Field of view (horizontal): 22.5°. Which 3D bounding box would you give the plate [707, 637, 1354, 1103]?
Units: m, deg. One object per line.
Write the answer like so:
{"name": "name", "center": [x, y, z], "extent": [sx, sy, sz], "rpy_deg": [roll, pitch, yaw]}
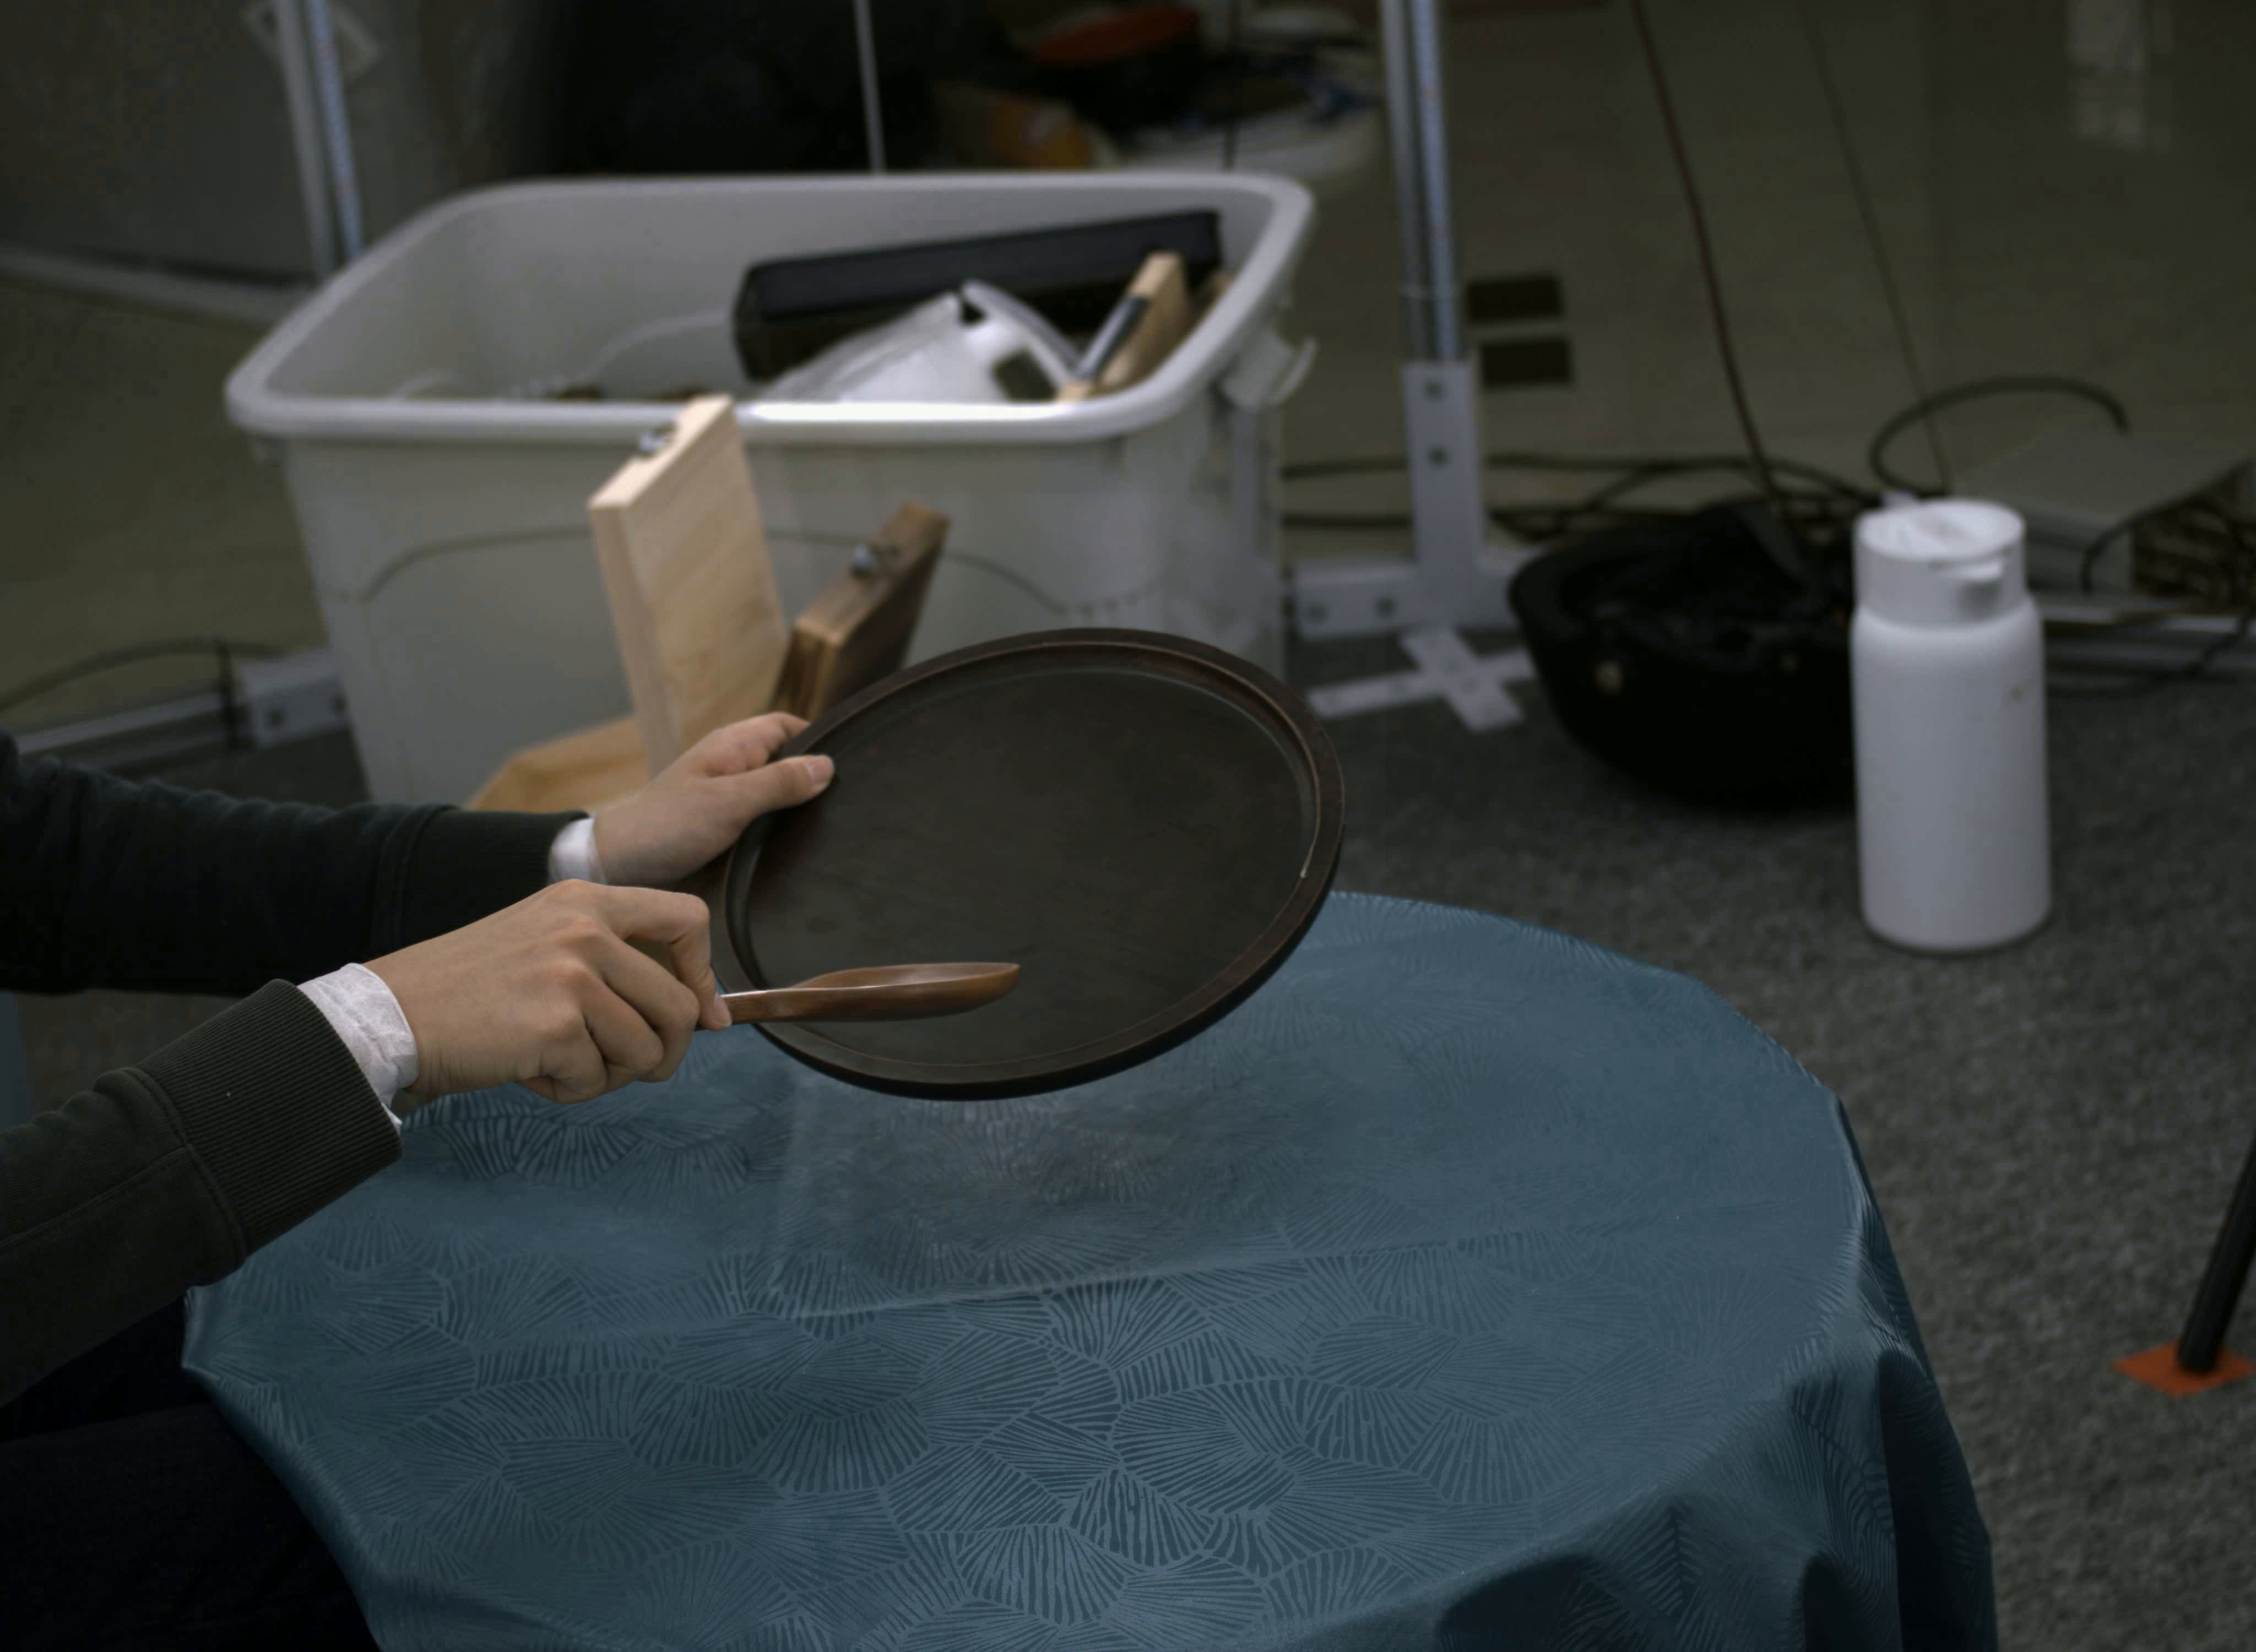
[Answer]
{"name": "plate", "center": [-0.037, 0.016, 2.168], "extent": [0.254, 0.029, 0.250], "rpy_deg": [-8, 42, 7]}

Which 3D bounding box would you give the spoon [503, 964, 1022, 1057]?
{"name": "spoon", "center": [-0.127, 0.064, 1.967], "extent": [0.215, 0.017, 0.075], "rpy_deg": [-5, 6, -42]}
